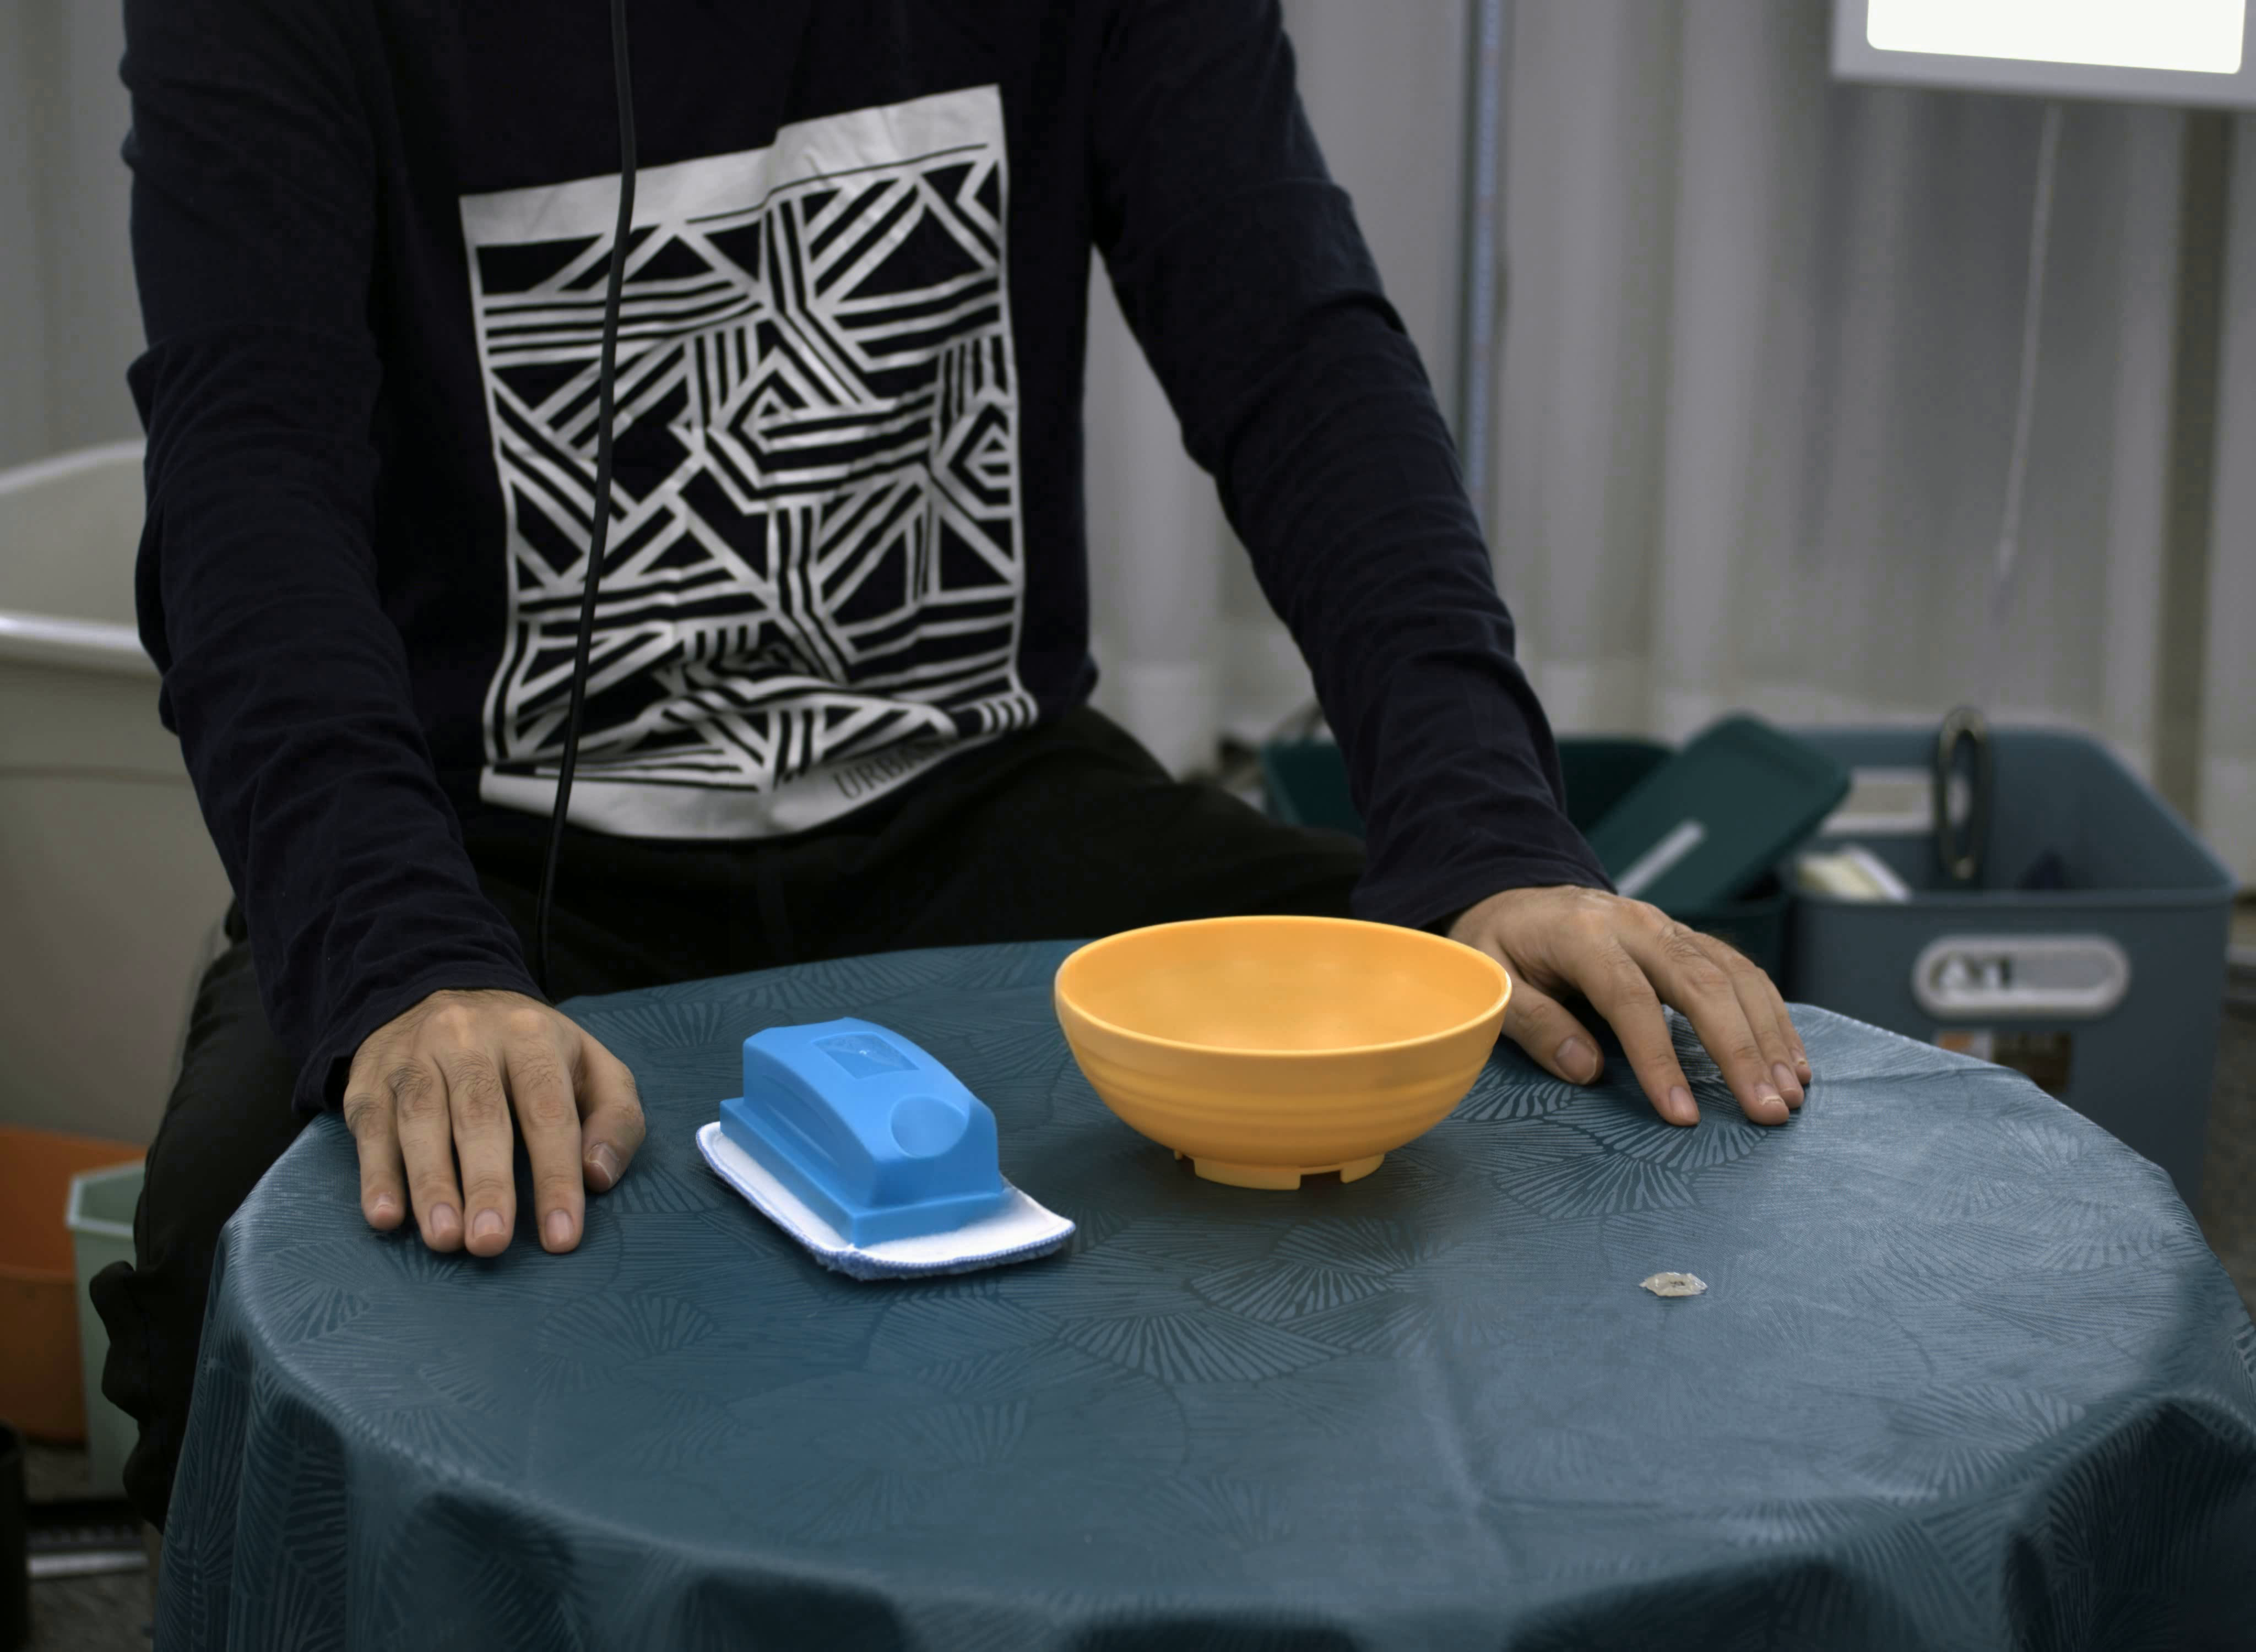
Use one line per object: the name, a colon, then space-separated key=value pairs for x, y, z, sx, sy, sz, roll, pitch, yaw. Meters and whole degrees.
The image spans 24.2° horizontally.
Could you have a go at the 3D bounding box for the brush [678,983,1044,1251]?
brush: x=-0.080 y=0.086 z=1.602 sx=0.084 sy=0.056 sz=0.142 roll=-2 pitch=18 yaw=-22

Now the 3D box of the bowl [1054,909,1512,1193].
bowl: x=0.048 y=0.076 z=1.652 sx=0.145 sy=0.060 sz=0.144 roll=2 pitch=17 yaw=0
